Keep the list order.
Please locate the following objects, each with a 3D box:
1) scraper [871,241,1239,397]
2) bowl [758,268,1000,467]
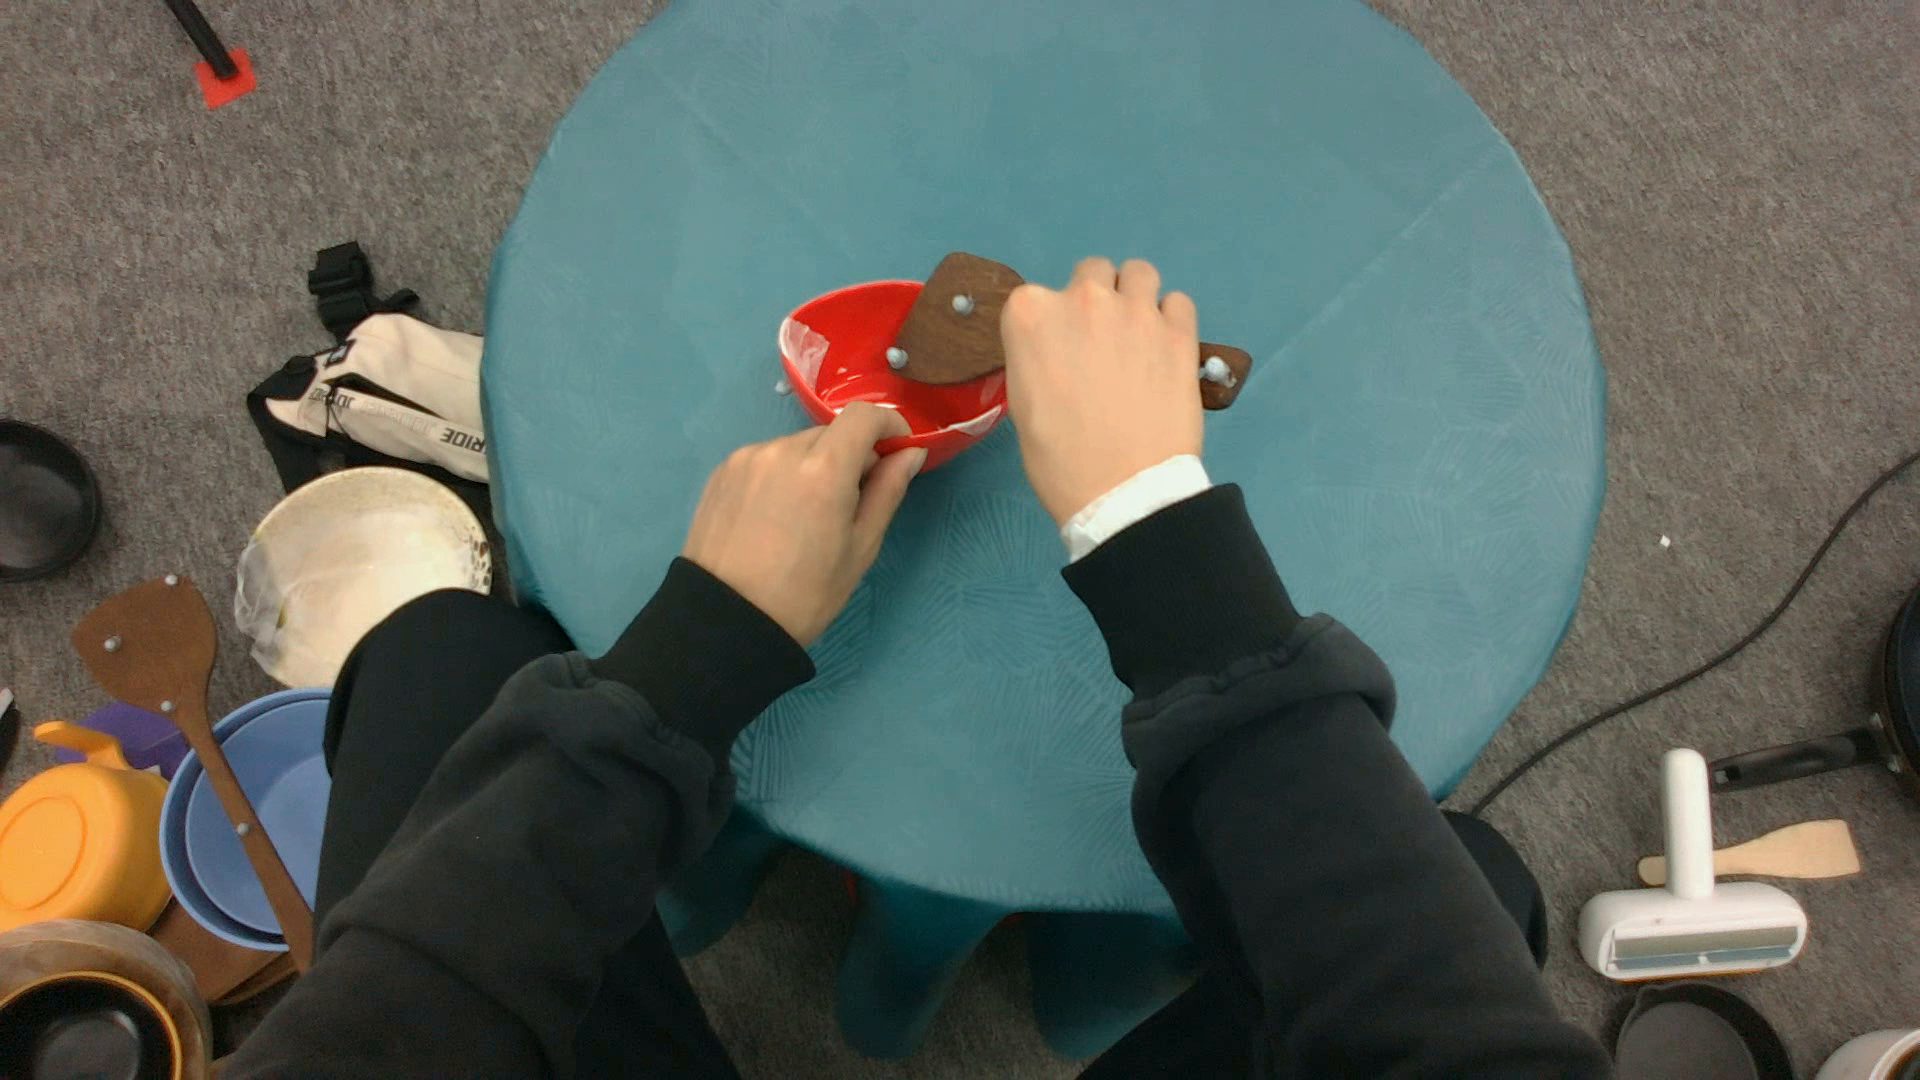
[{"bbox_3d":[0.039,-0.094,0.624,0.211,0.011,0.076,21,79,46],"label":"scraper"},{"bbox_3d":[-0.043,-0.079,0.678,0.119,0.051,0.119,9,46,-9],"label":"bowl"}]
